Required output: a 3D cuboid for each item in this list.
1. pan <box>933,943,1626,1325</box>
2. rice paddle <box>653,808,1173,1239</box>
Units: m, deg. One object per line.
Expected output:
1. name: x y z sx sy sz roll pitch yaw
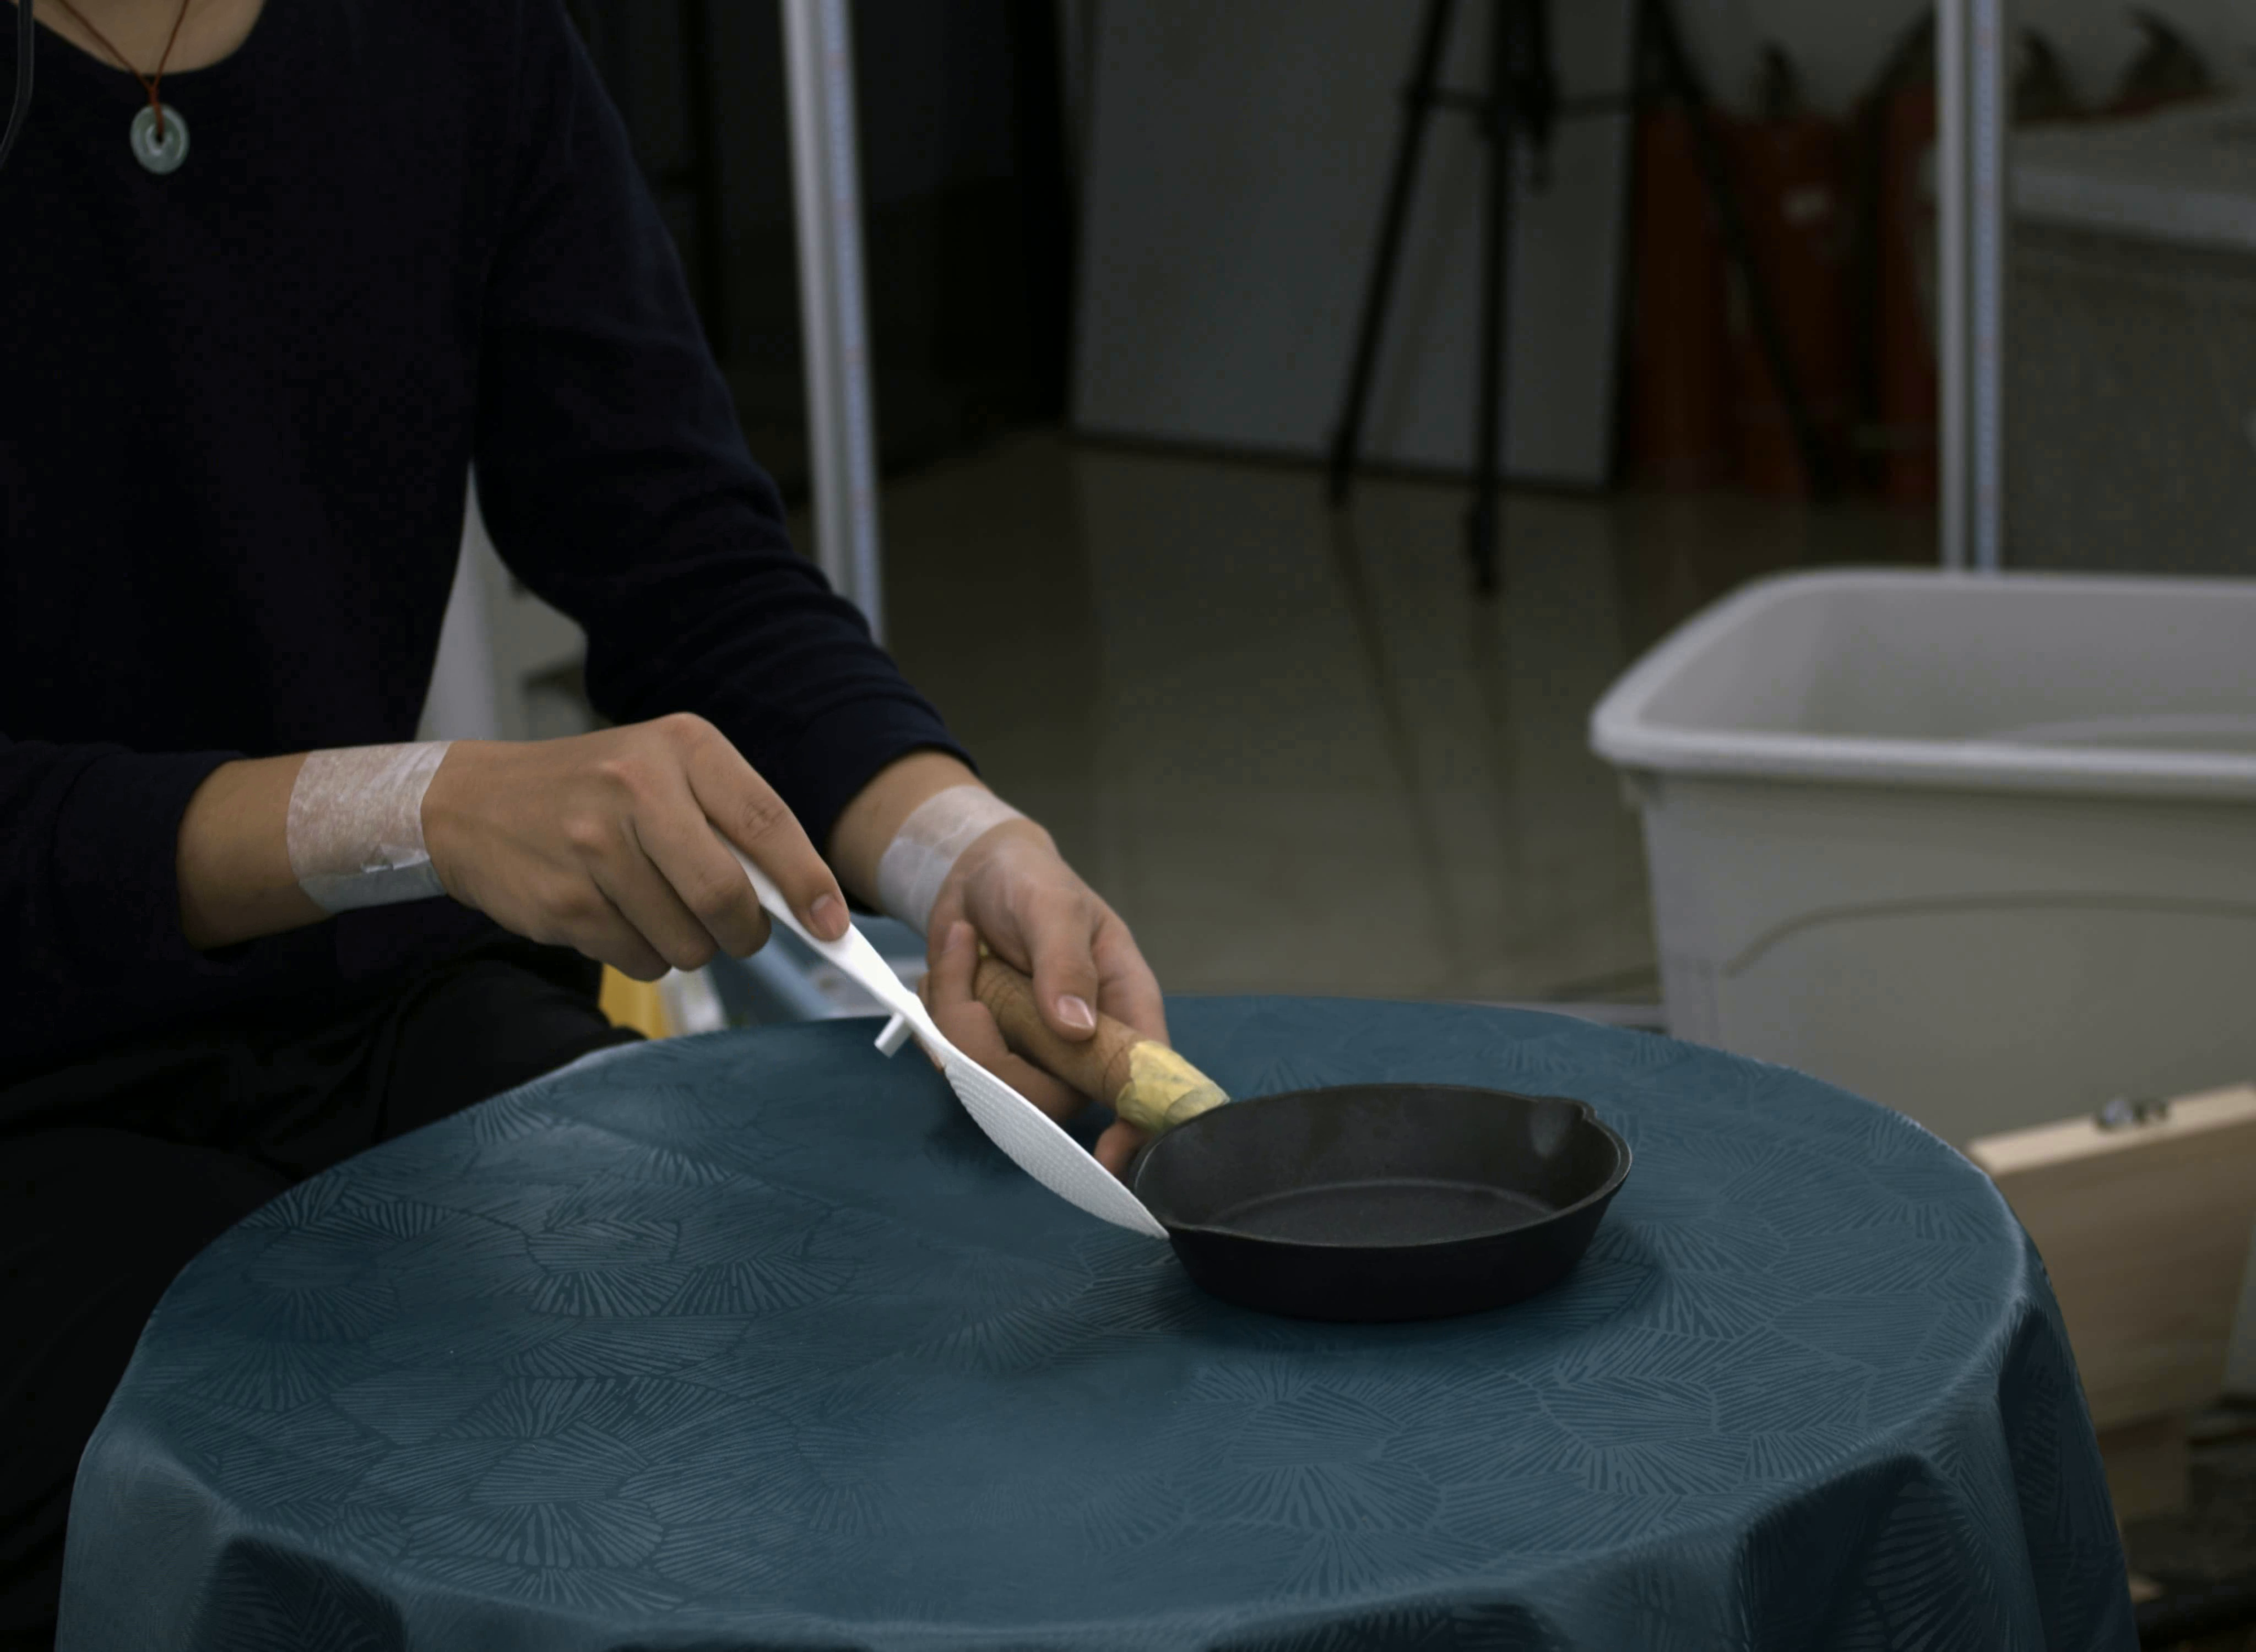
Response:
1. pan: 0.032 0.095 1.750 0.165 0.050 0.328 -13 19 -31
2. rice paddle: -0.062 0.063 1.655 0.206 0.029 0.068 37 -5 22
